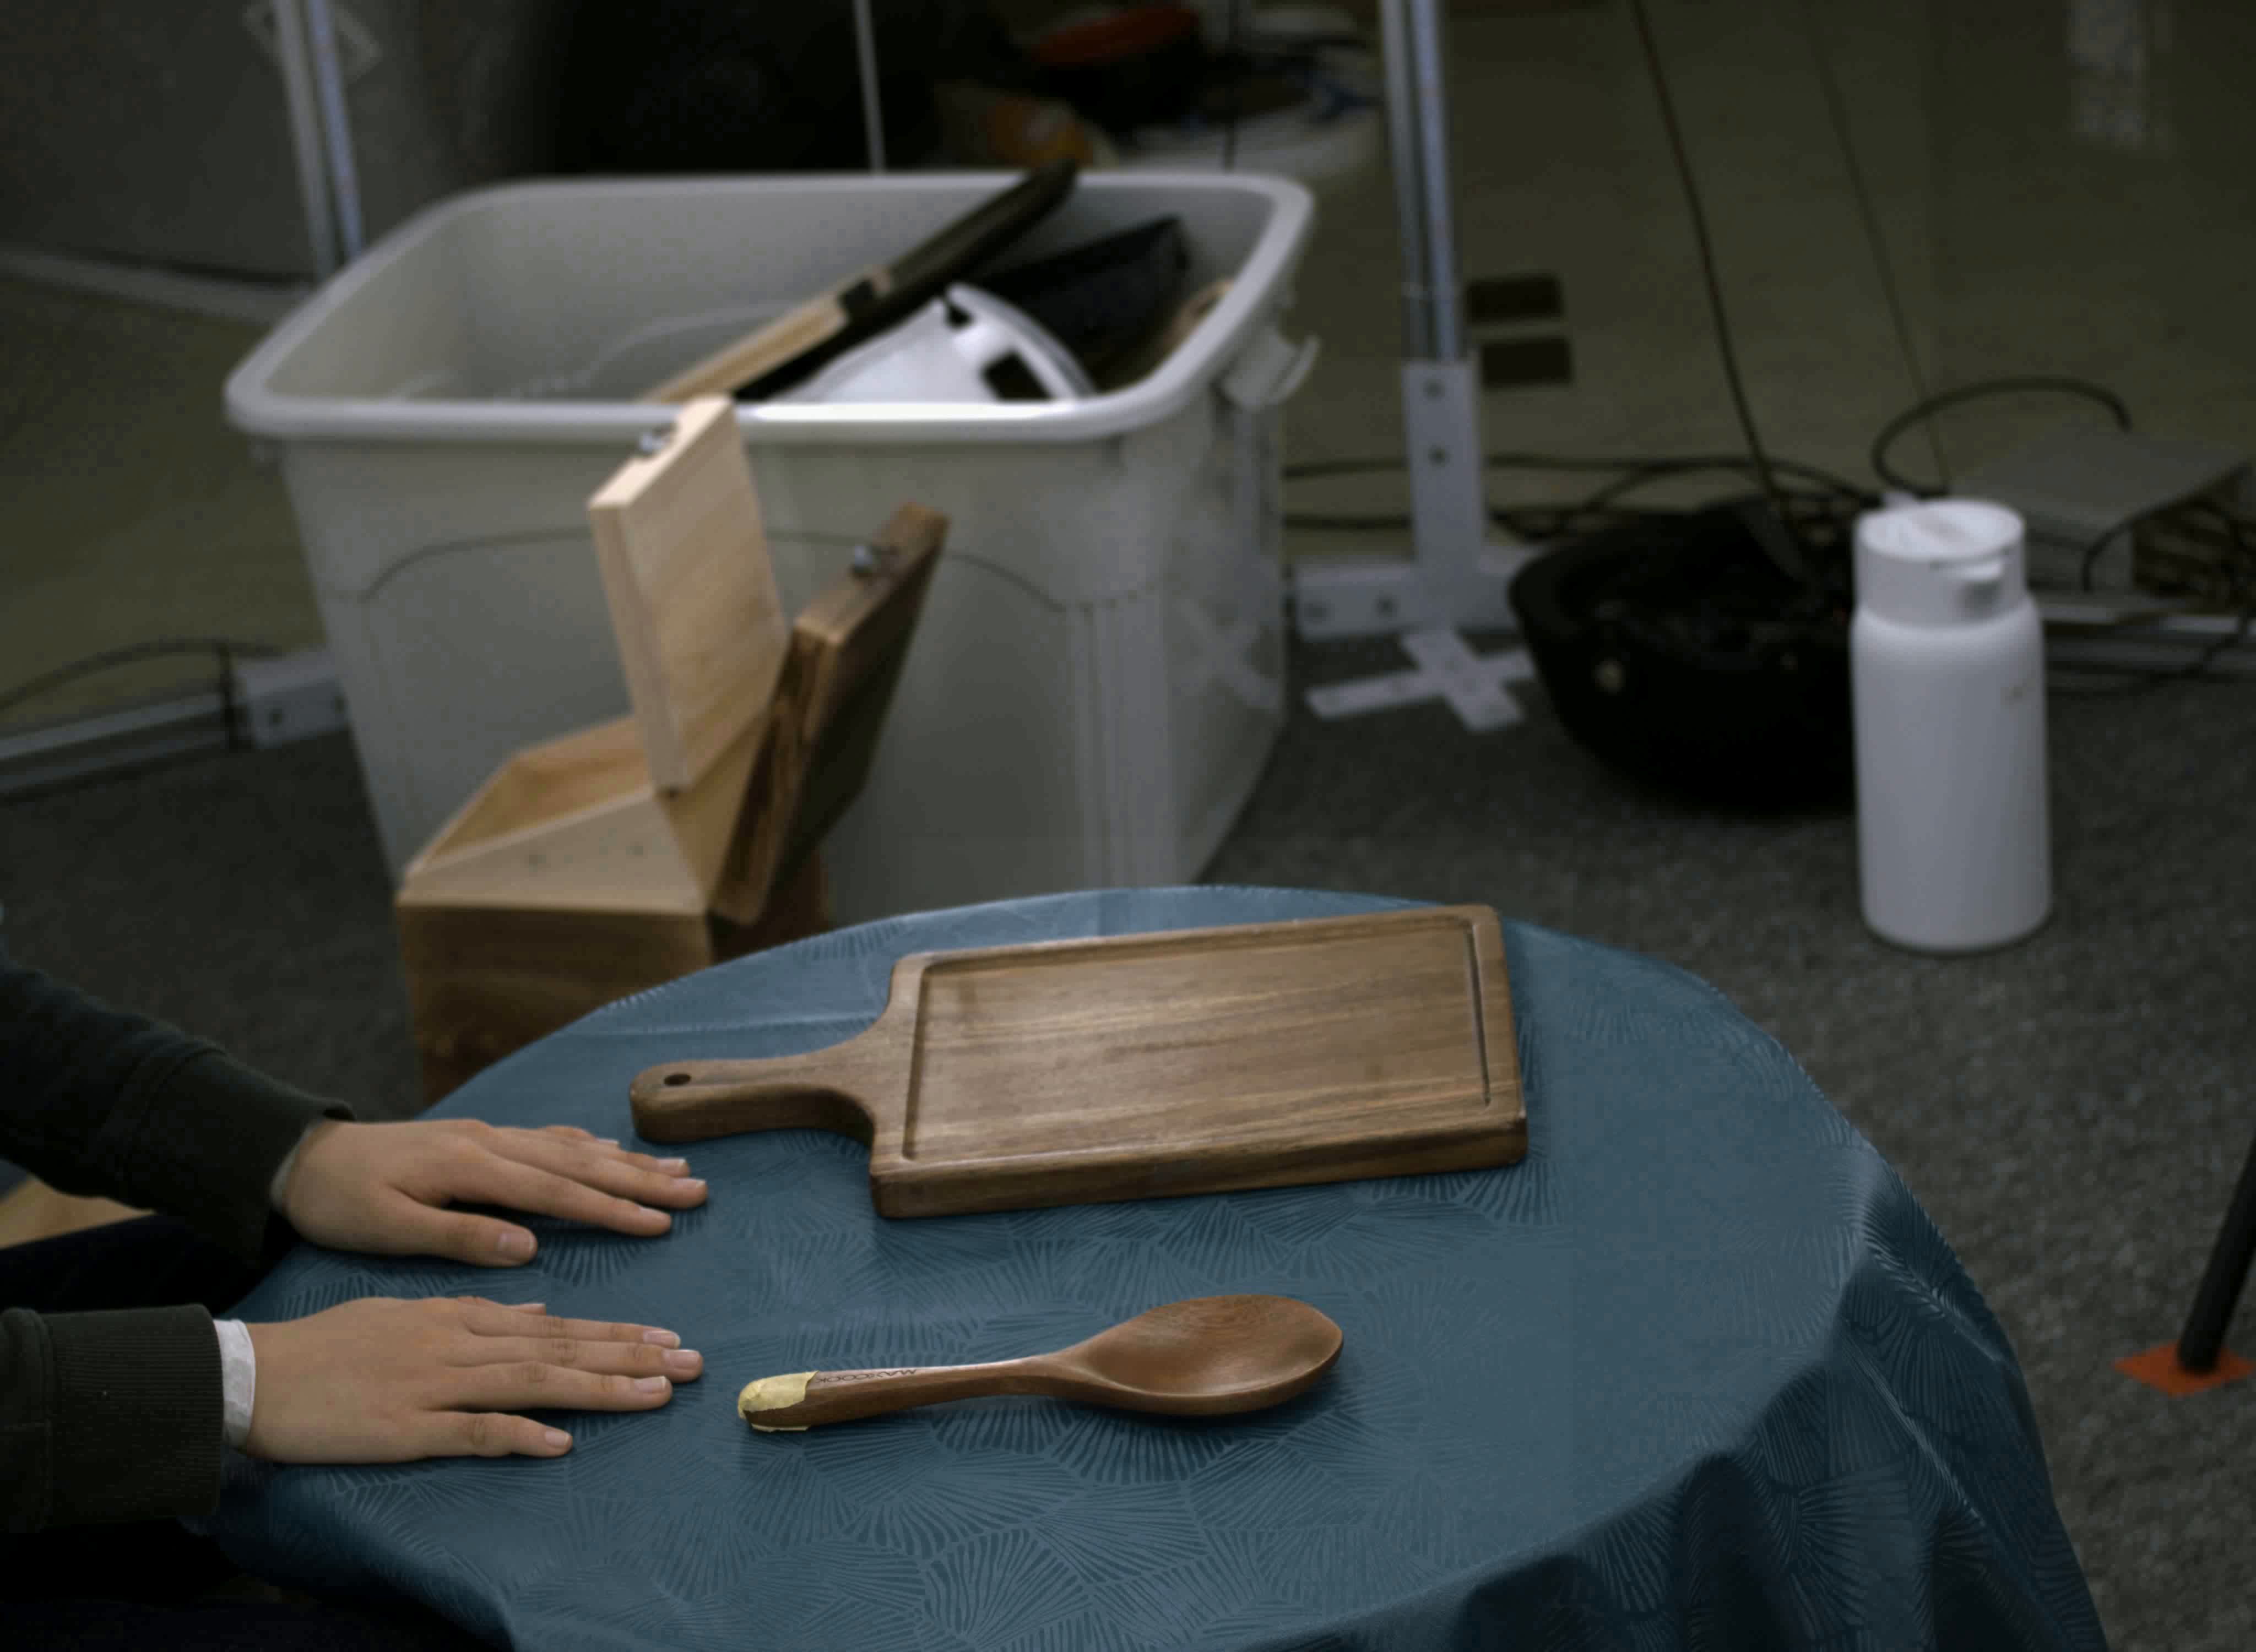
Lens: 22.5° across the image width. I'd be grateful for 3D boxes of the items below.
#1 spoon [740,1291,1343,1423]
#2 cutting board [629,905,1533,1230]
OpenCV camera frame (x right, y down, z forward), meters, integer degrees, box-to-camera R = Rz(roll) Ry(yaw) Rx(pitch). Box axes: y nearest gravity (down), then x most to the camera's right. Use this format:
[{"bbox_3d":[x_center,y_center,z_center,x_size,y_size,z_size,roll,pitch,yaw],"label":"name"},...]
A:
[{"bbox_3d":[-0.031,0.195,2.018,0.215,0.017,0.074,-5,27,3],"label":"spoon"},{"bbox_3d":[-0.022,0.097,2.229,0.351,0.023,0.198,-5,26,3],"label":"cutting board"}]
